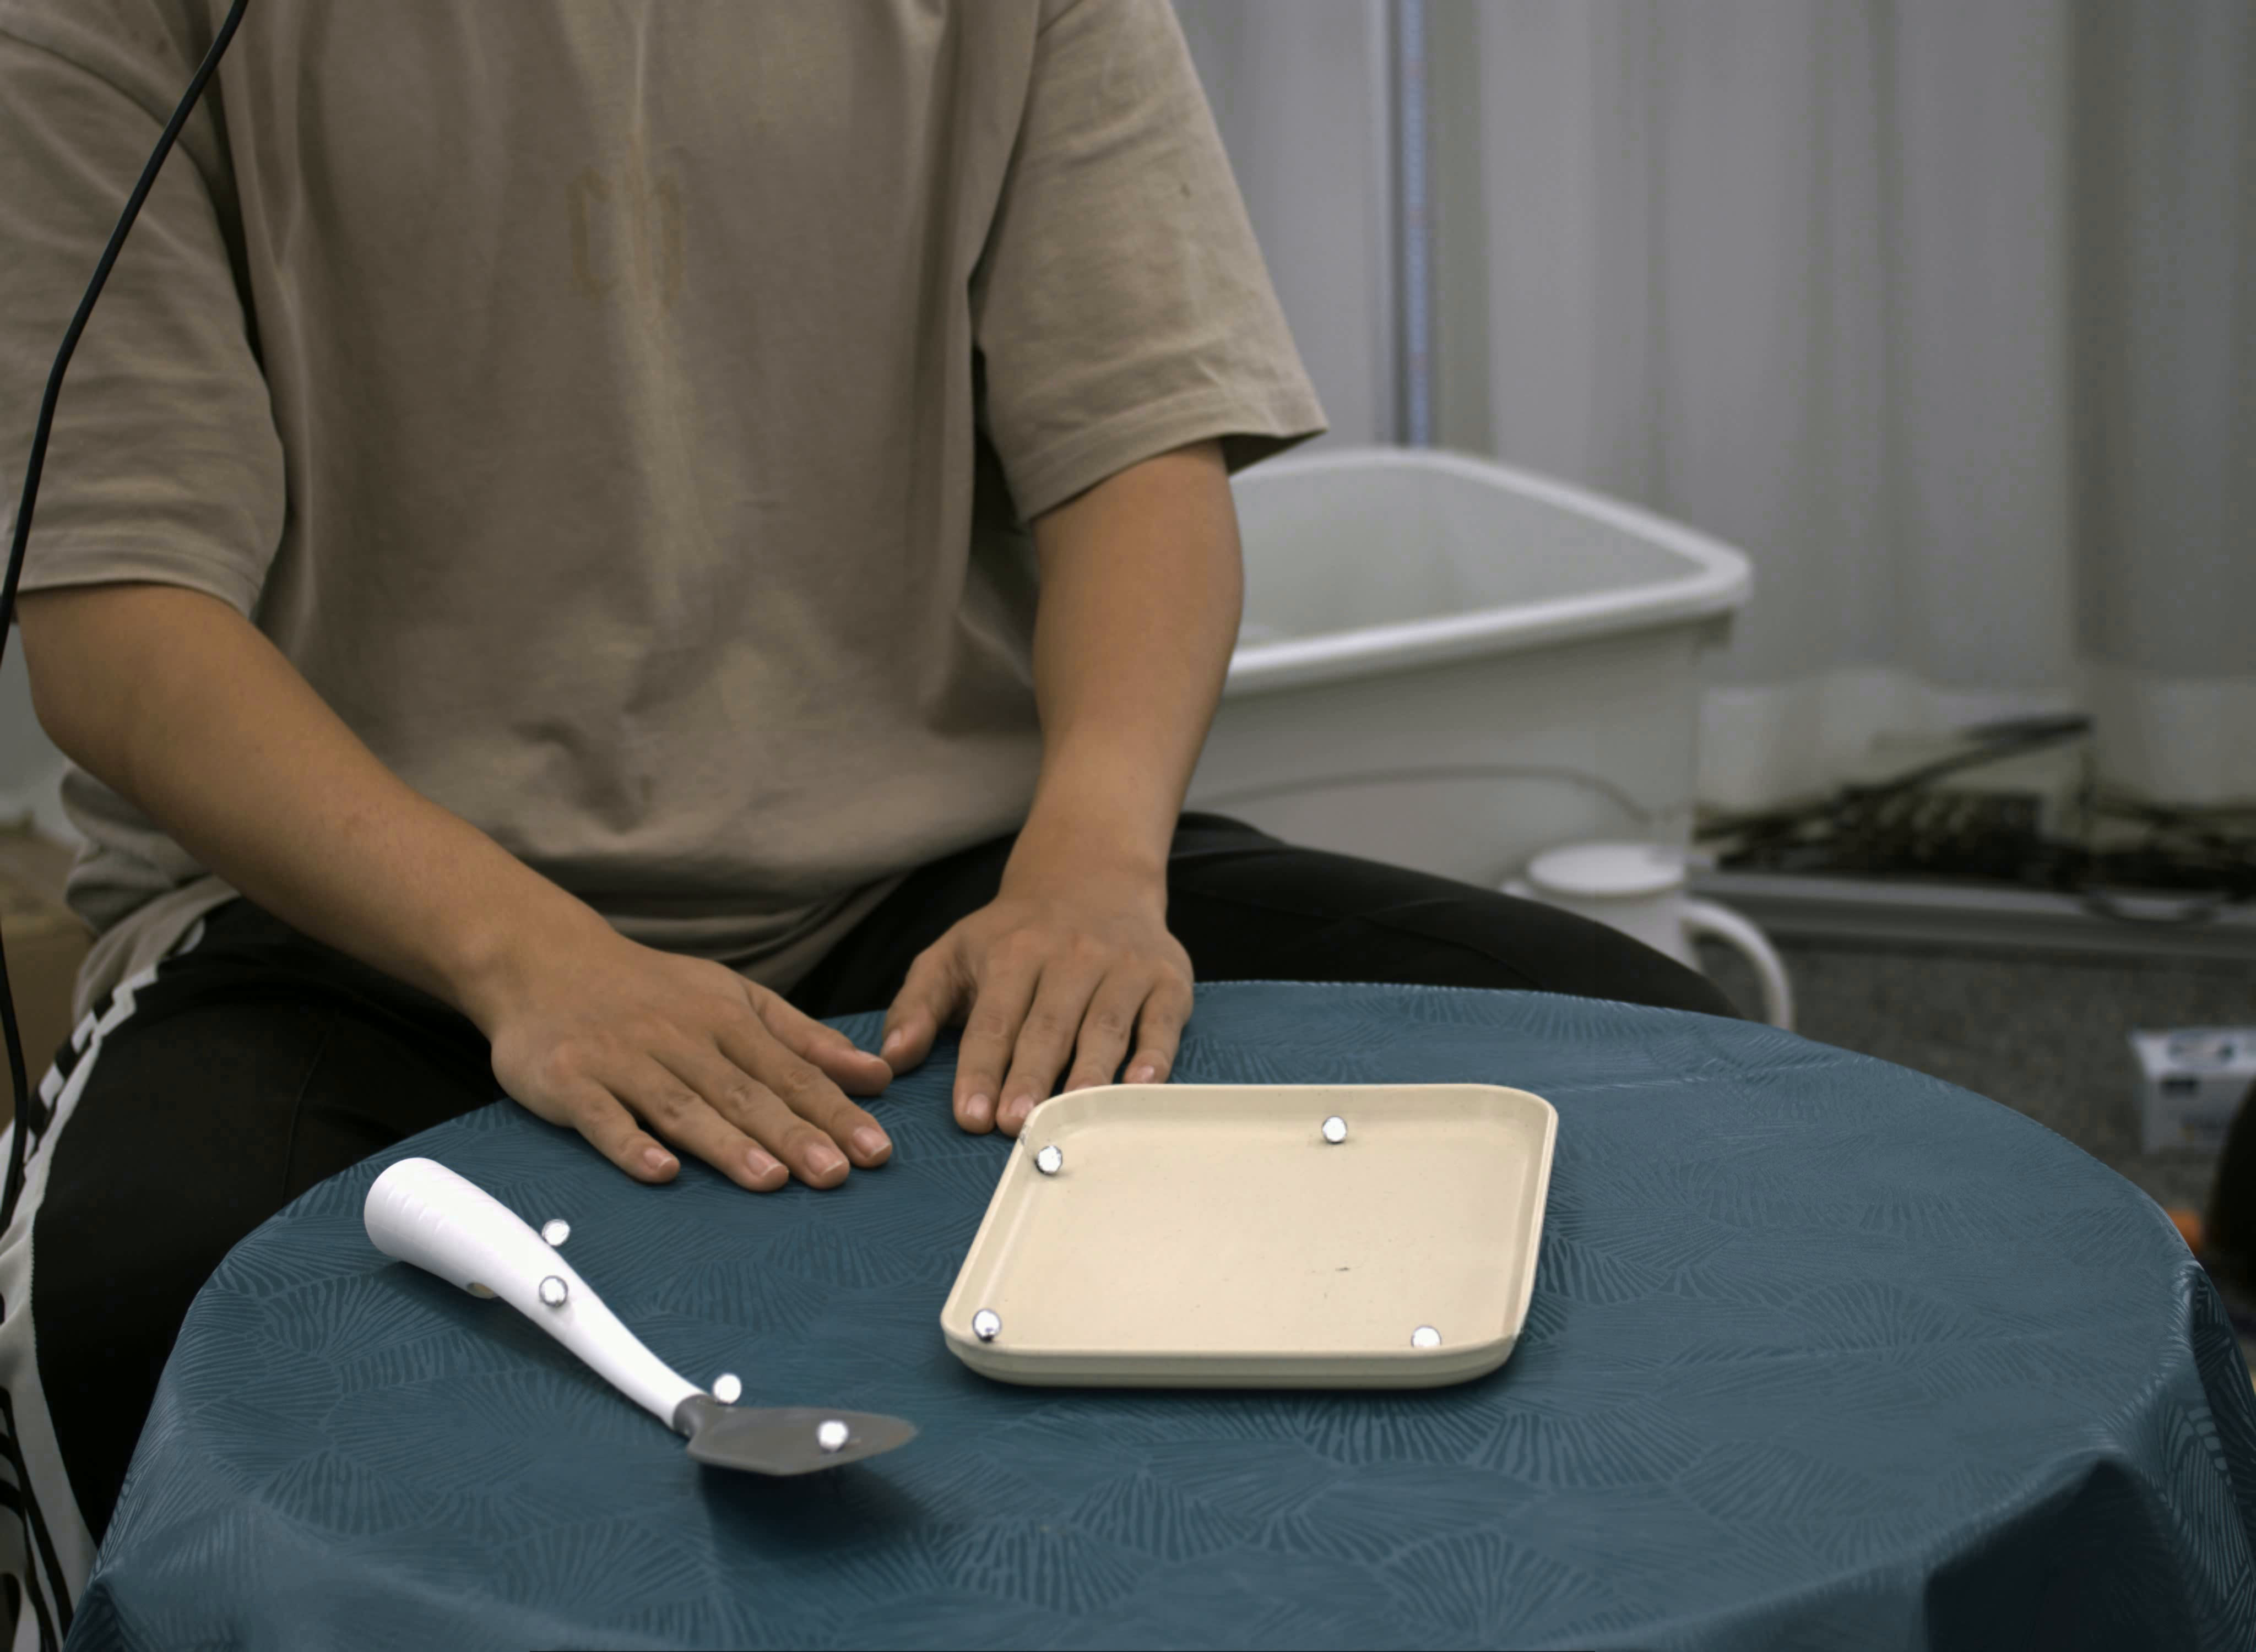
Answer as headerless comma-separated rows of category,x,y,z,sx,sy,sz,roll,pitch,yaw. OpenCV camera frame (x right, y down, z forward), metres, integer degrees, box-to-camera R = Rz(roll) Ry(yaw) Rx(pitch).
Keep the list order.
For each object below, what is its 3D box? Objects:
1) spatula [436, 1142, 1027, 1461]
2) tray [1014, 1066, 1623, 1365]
spatula,-0.121,0.140,1.557,0.058,0.032,0.290,-7,15,-31
tray,0.062,0.116,1.646,0.171,0.017,0.241,0,15,8
